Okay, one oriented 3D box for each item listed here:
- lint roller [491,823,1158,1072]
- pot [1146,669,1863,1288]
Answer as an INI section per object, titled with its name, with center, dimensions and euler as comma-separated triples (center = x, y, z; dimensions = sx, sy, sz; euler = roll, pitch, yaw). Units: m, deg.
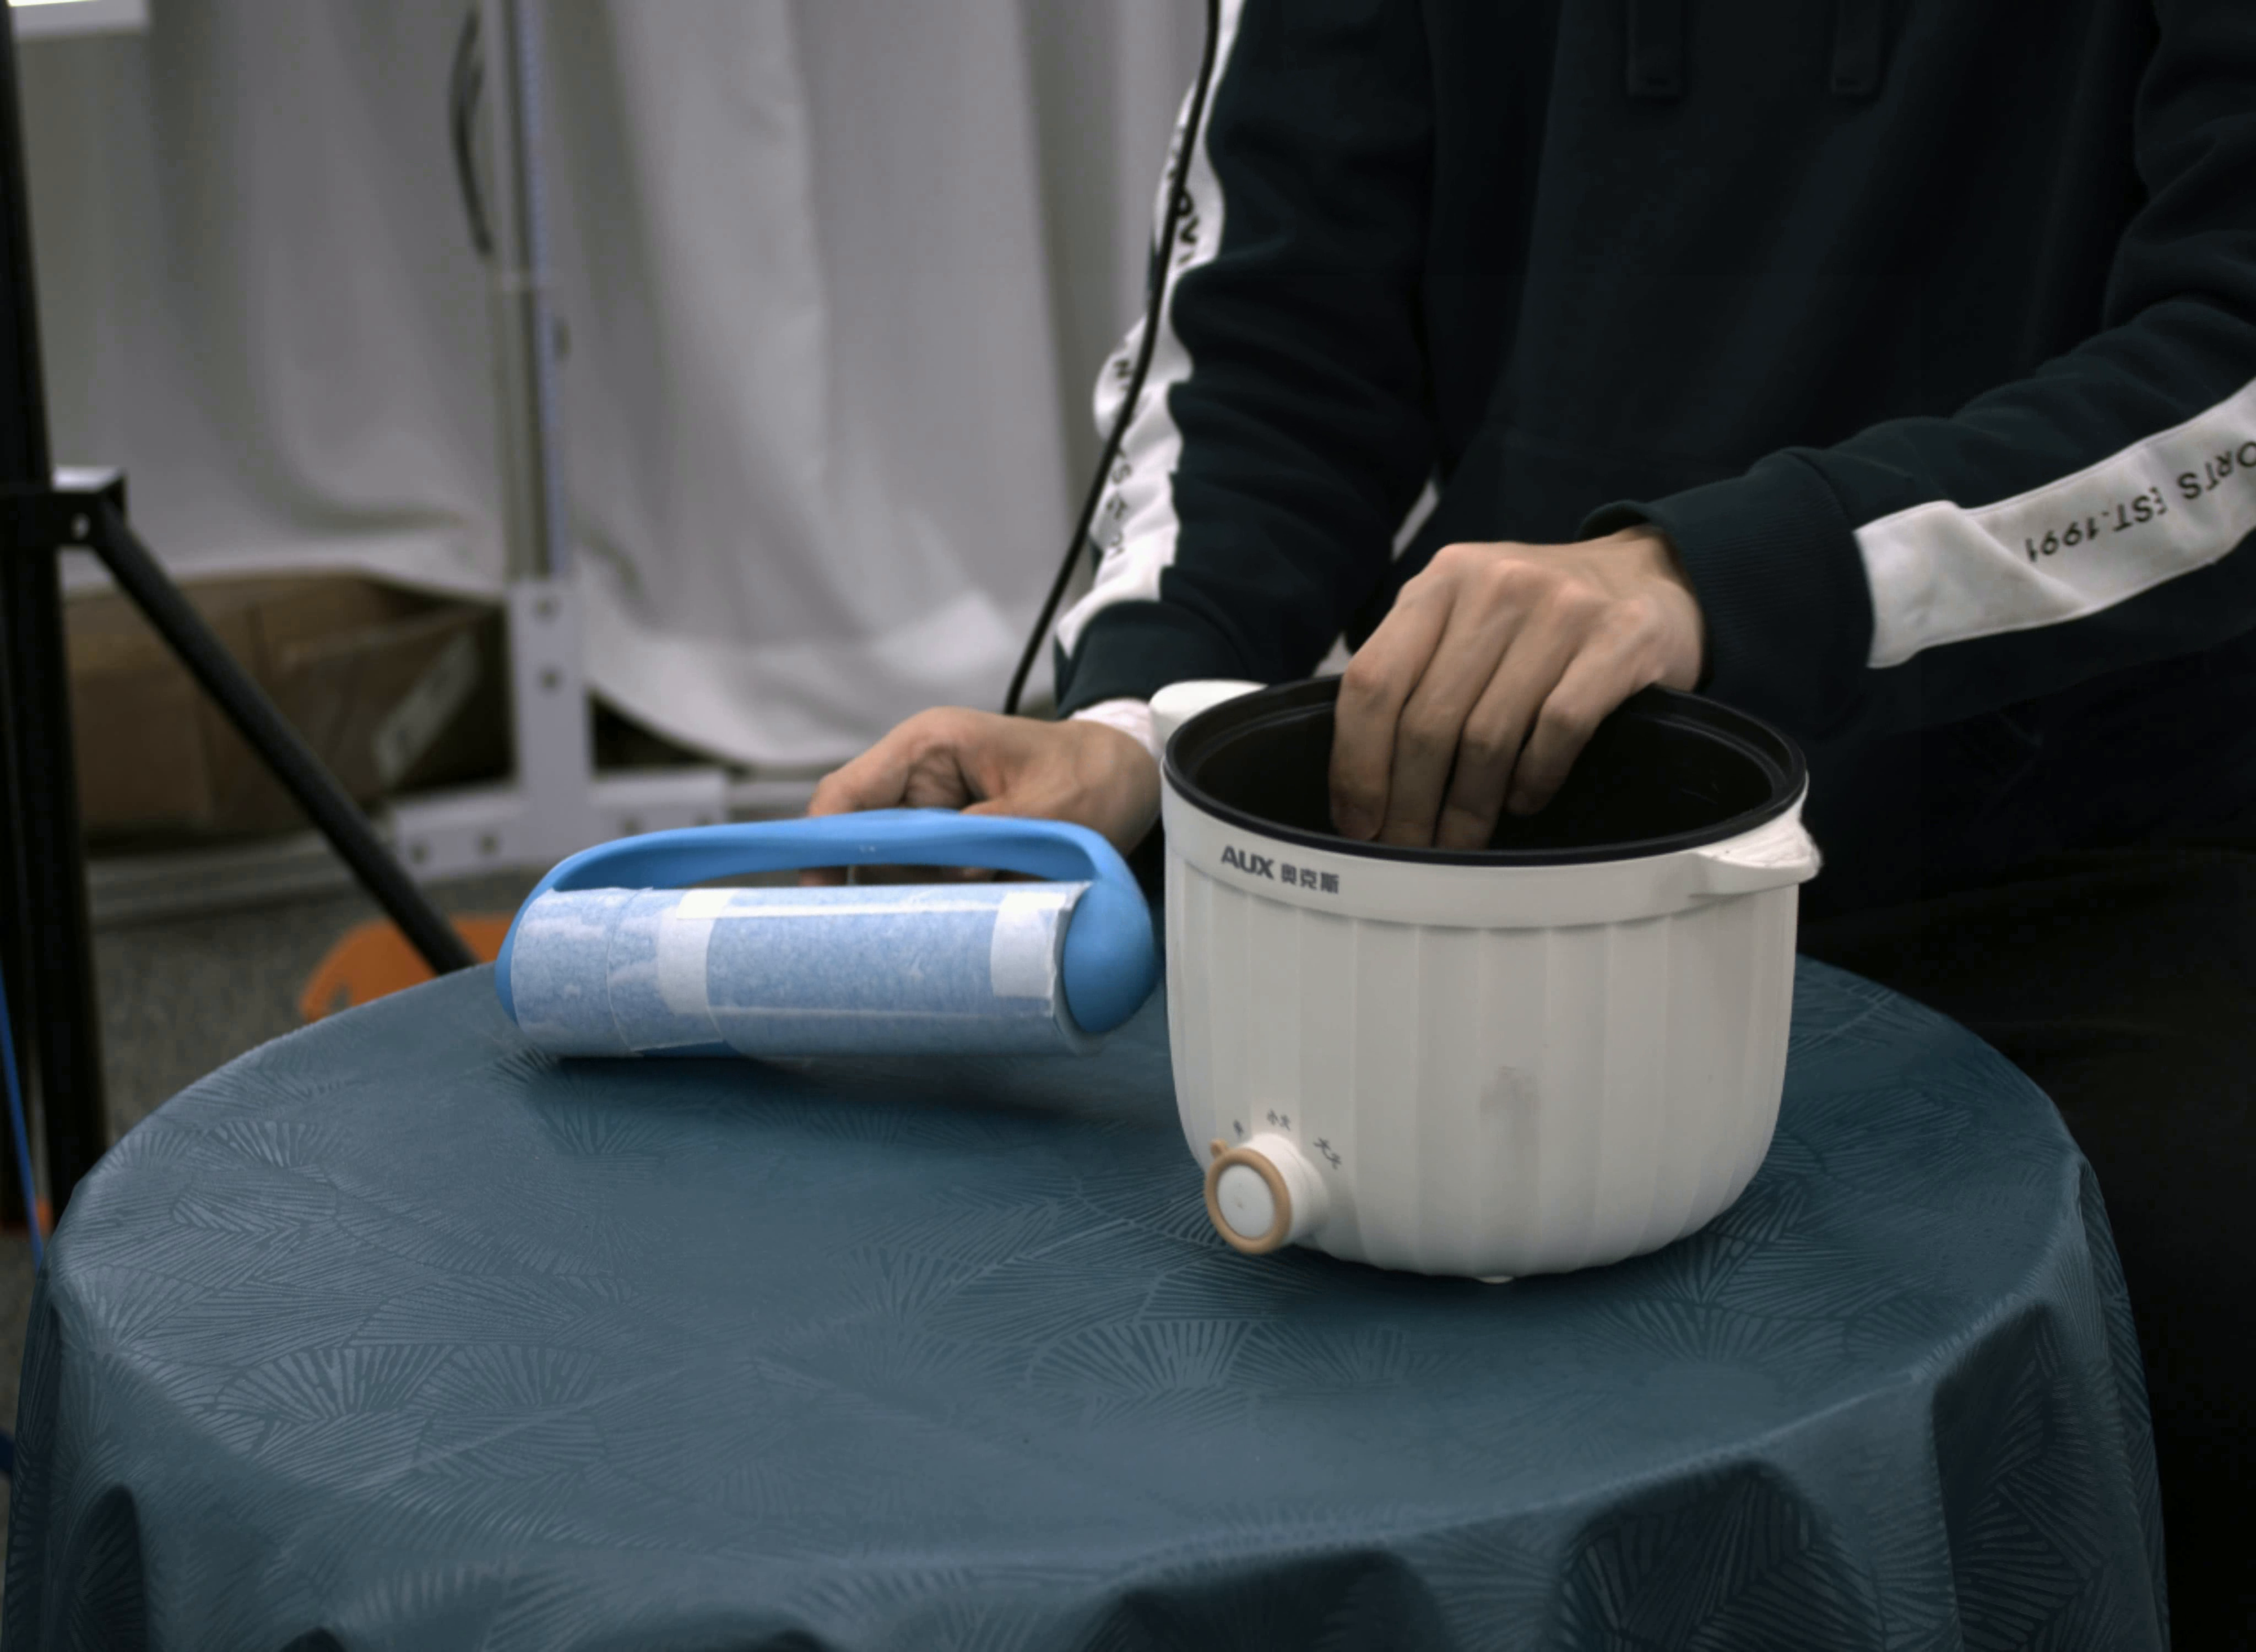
[lint roller]
center = -0.076, 0.030, 1.709
dimensions = 0.232, 0.068, 0.178
euler = -4, 16, 25
[pot]
center = 0.098, 0.046, 1.499
dimensions = 0.246, 0.143, 0.186
euler = 13, 19, 41
